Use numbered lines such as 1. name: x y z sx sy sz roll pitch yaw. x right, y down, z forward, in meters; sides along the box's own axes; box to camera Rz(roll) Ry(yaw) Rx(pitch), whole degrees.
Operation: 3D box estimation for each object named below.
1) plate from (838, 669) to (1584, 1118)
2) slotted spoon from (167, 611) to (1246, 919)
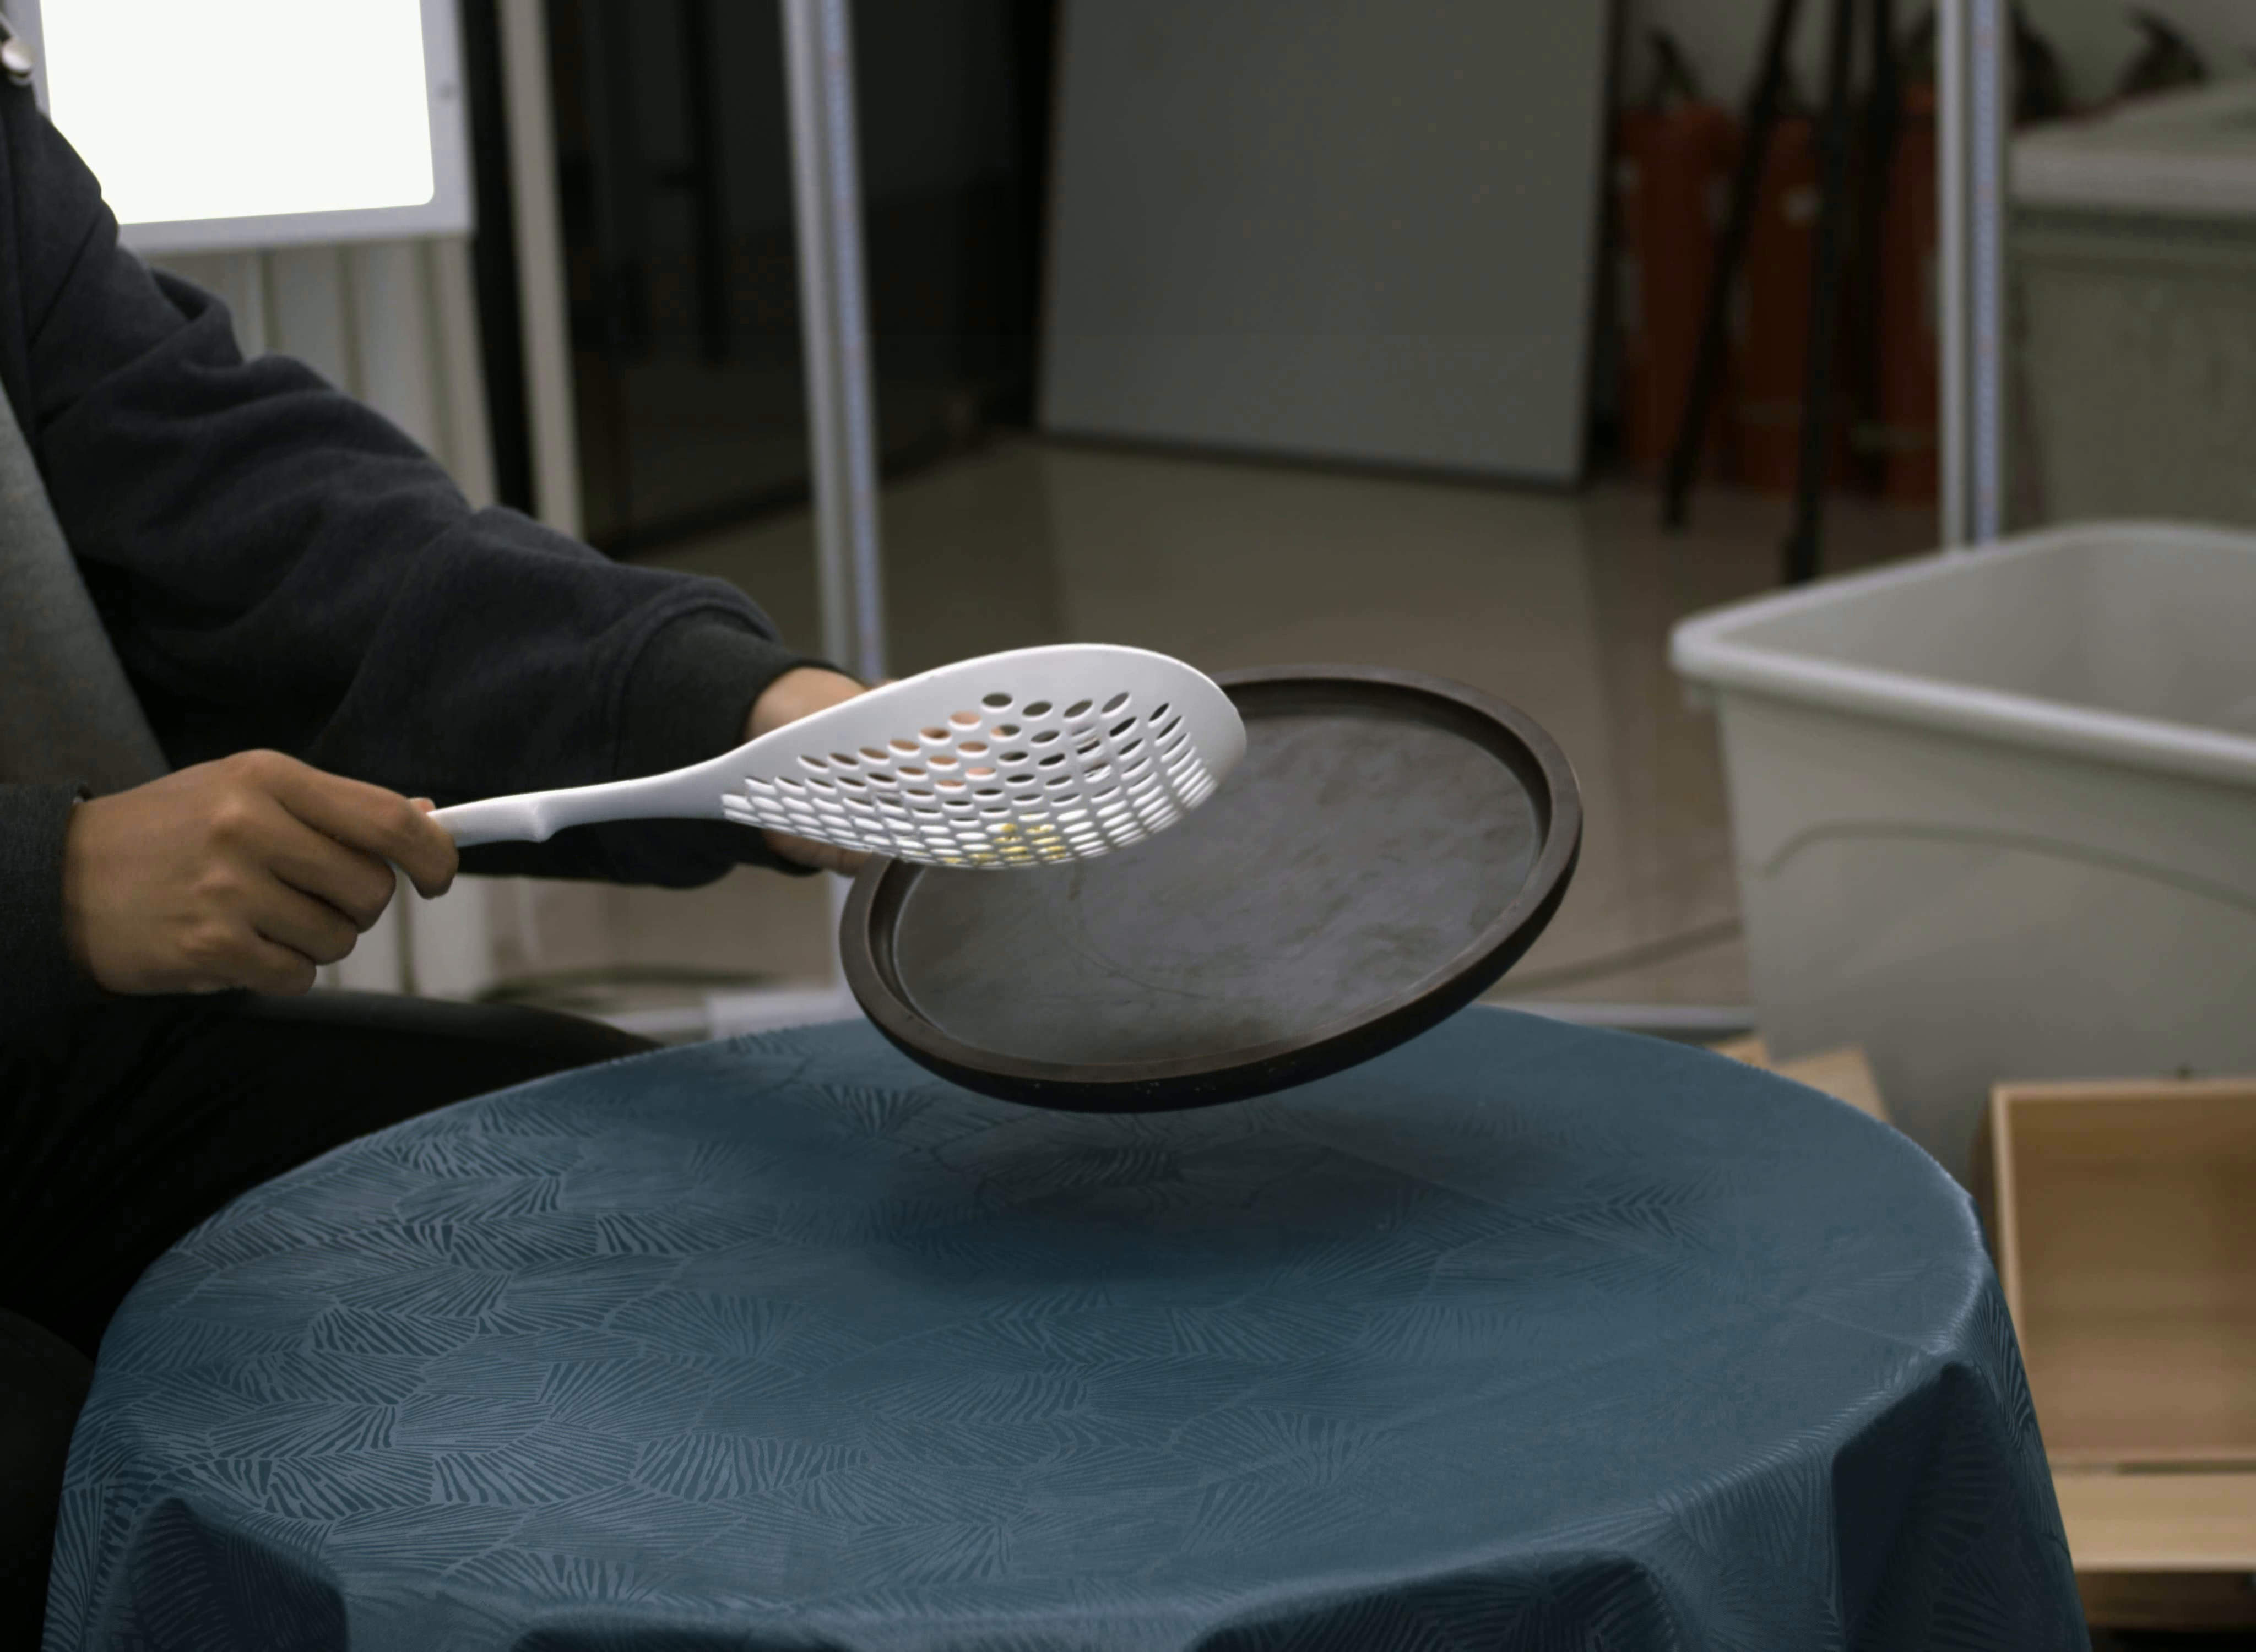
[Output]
1. plate: 0.028 0.020 1.780 0.252 0.029 0.256 -12 31 6
2. slotted spoon: -0.133 -0.005 1.703 0.345 0.051 0.136 -5 -25 10
